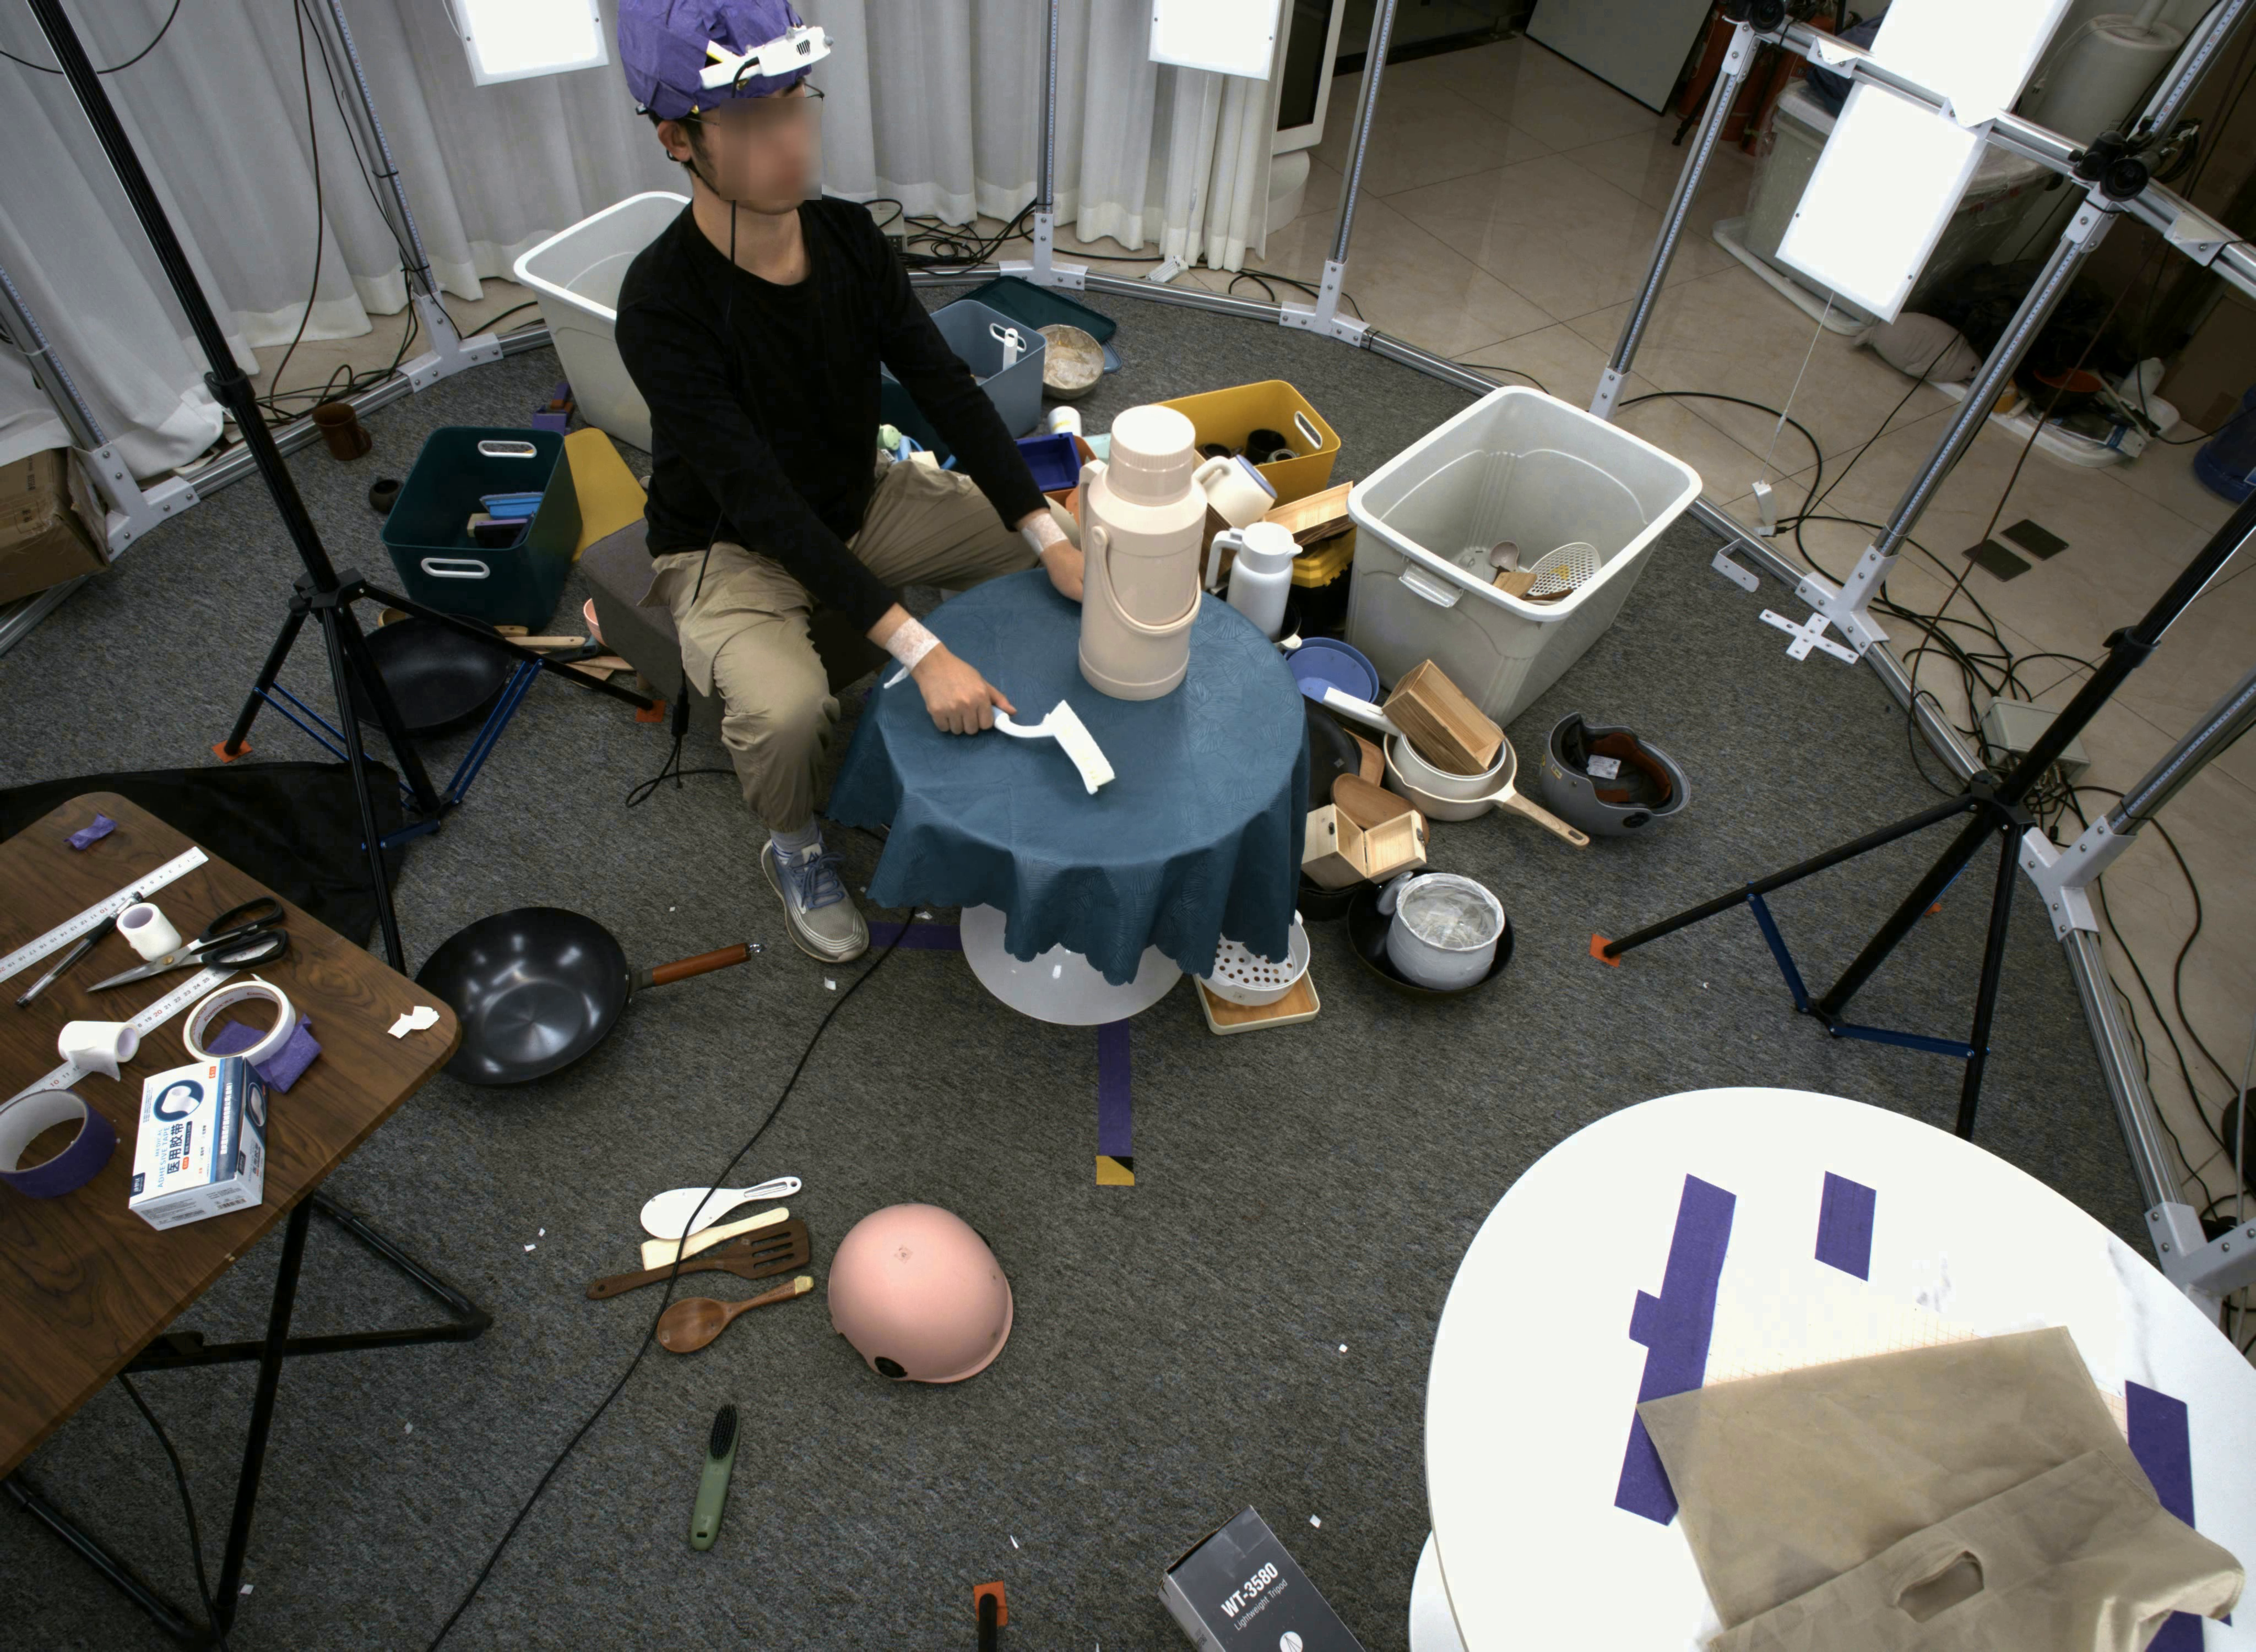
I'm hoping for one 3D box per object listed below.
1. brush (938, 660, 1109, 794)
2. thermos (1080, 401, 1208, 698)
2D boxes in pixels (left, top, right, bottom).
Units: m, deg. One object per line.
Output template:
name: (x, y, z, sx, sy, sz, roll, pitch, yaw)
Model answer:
brush: (-0.136, -0.162, 1.756, 0.085, 0.081, 0.331, -23, 51, -39)
thermos: (0.012, -0.375, 1.740, 0.177, 0.396, 0.210, -36, 61, -28)
